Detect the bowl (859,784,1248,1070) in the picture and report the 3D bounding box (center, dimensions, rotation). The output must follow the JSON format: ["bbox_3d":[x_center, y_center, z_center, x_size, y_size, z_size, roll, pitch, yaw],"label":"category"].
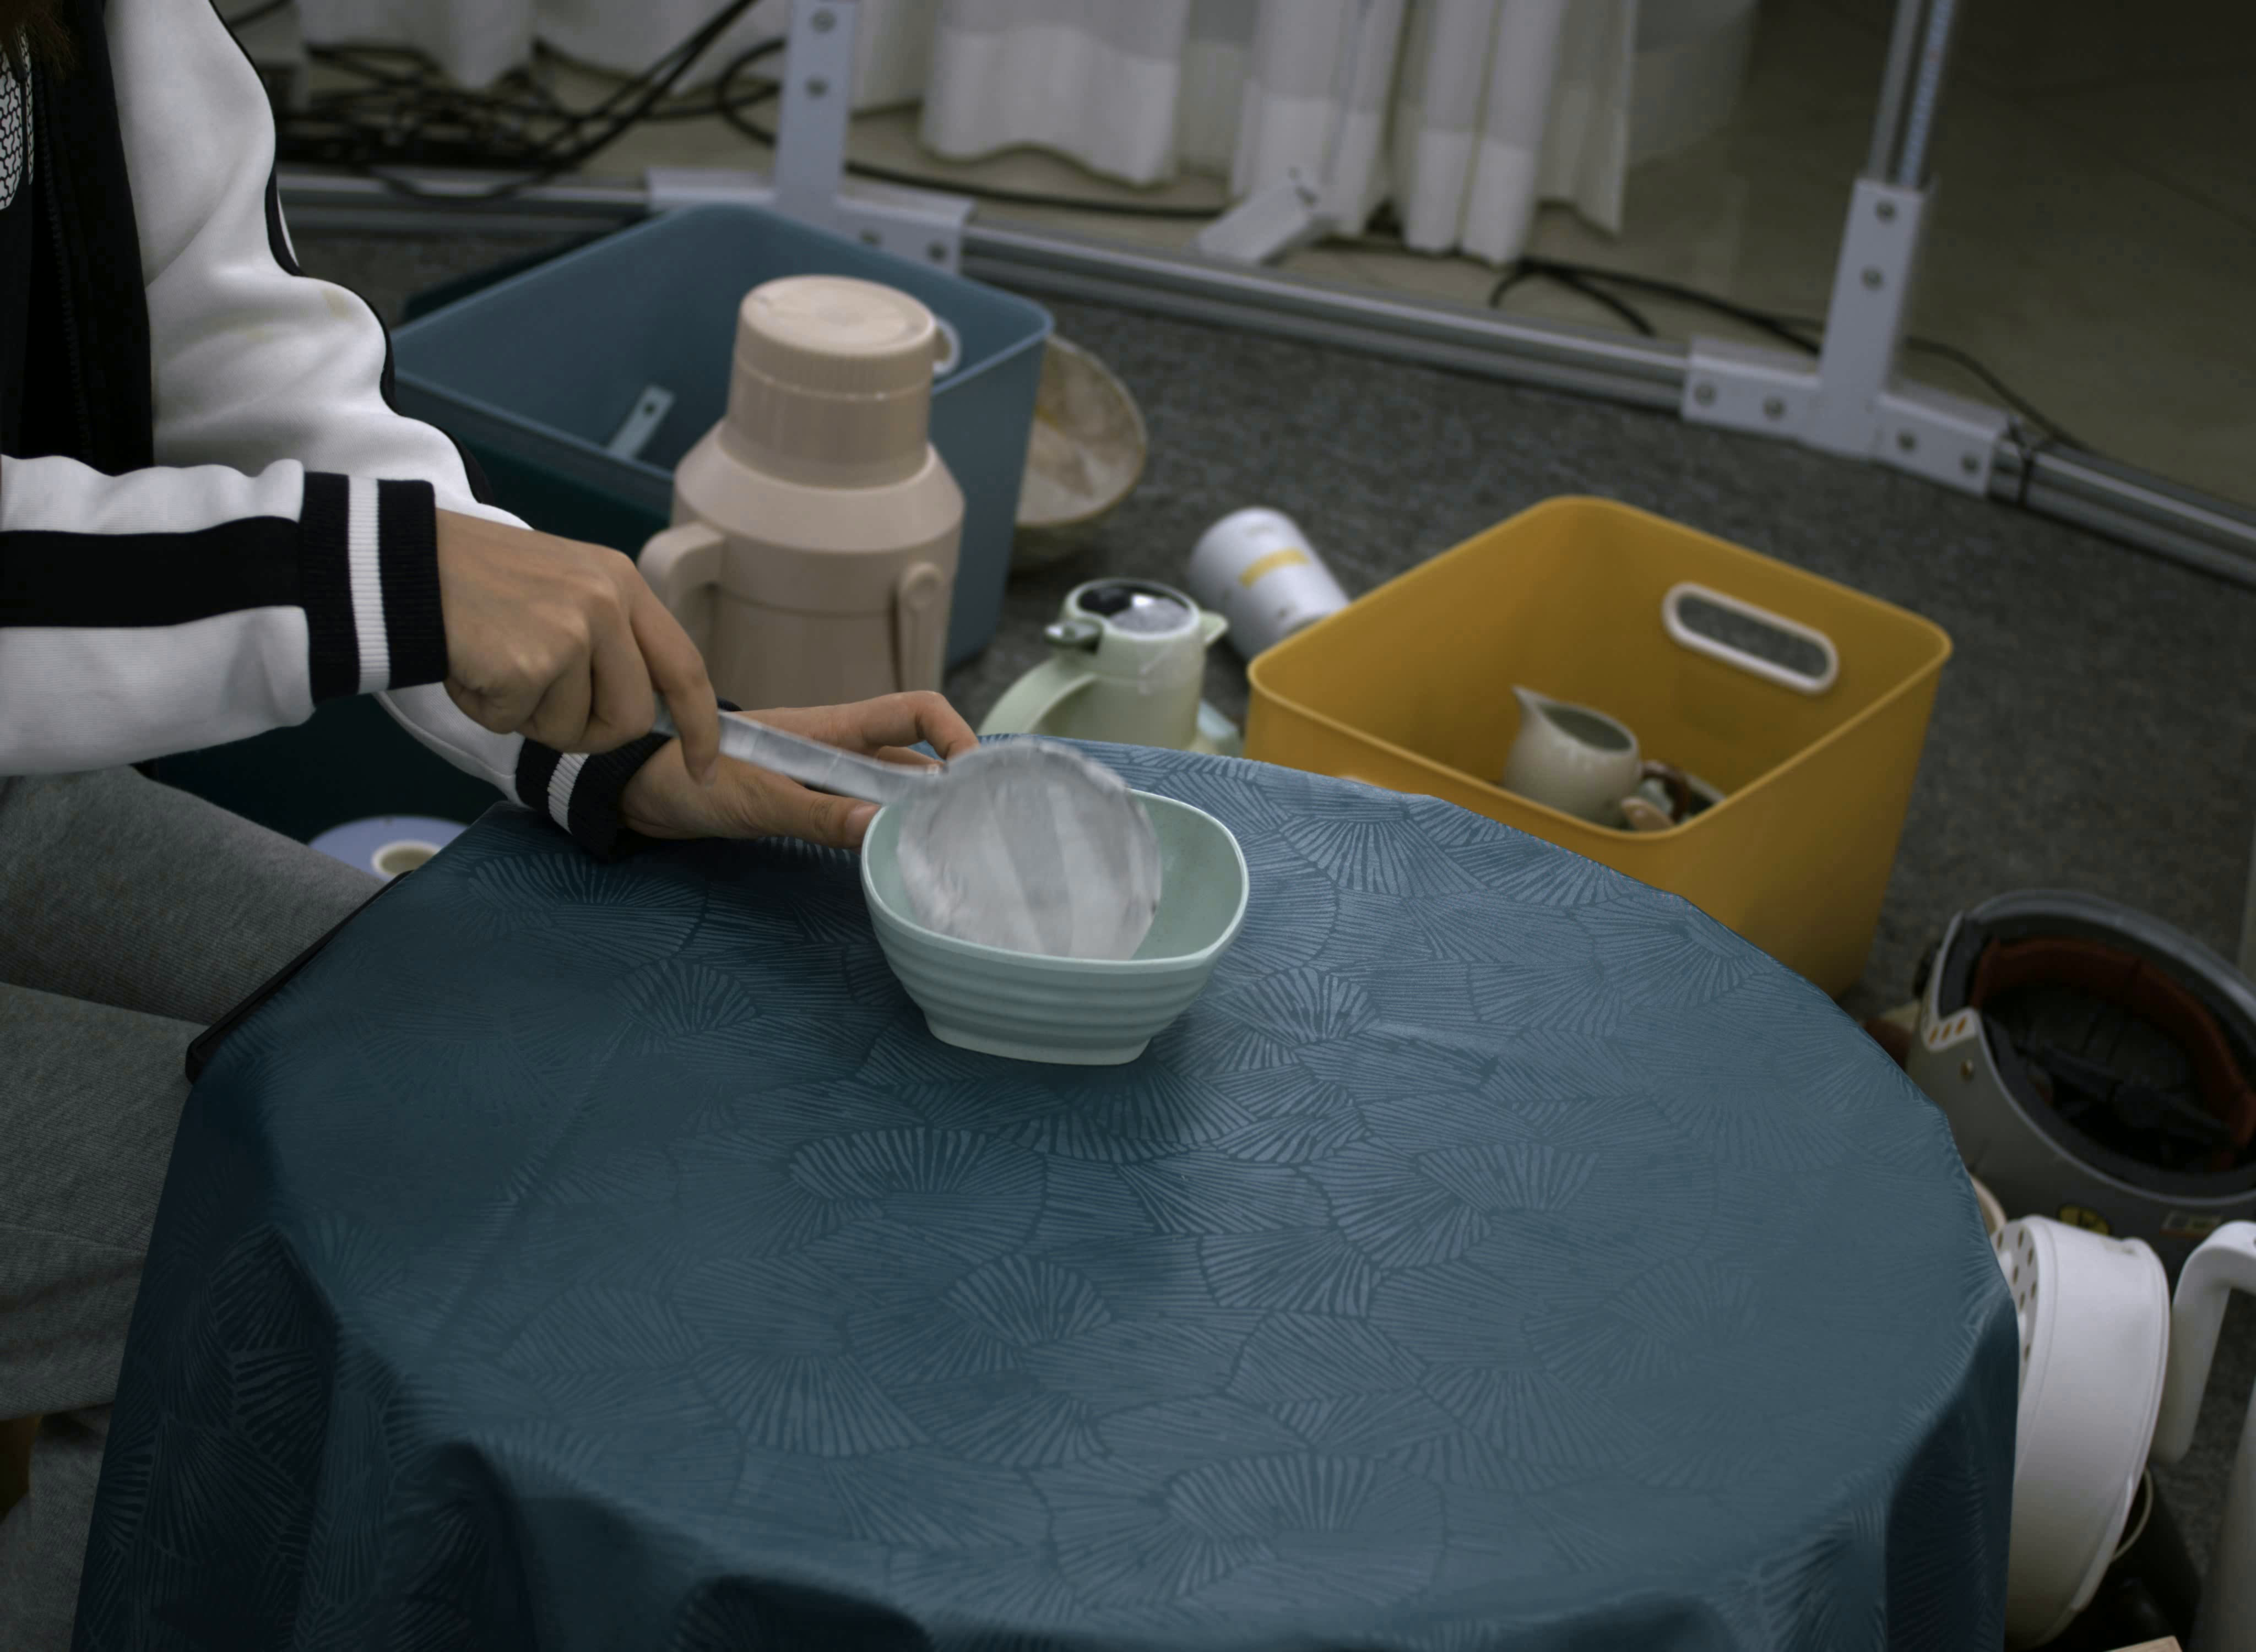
[{"bbox_3d":[-0.029,0.040,1.900,0.151,0.058,0.152,5,28,-3],"label":"bowl"}]

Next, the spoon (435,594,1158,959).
[{"bbox_3d":[-0.110,-0.018,1.803,0.275,0.100,0.060,23,20,-34],"label":"spoon"}]
